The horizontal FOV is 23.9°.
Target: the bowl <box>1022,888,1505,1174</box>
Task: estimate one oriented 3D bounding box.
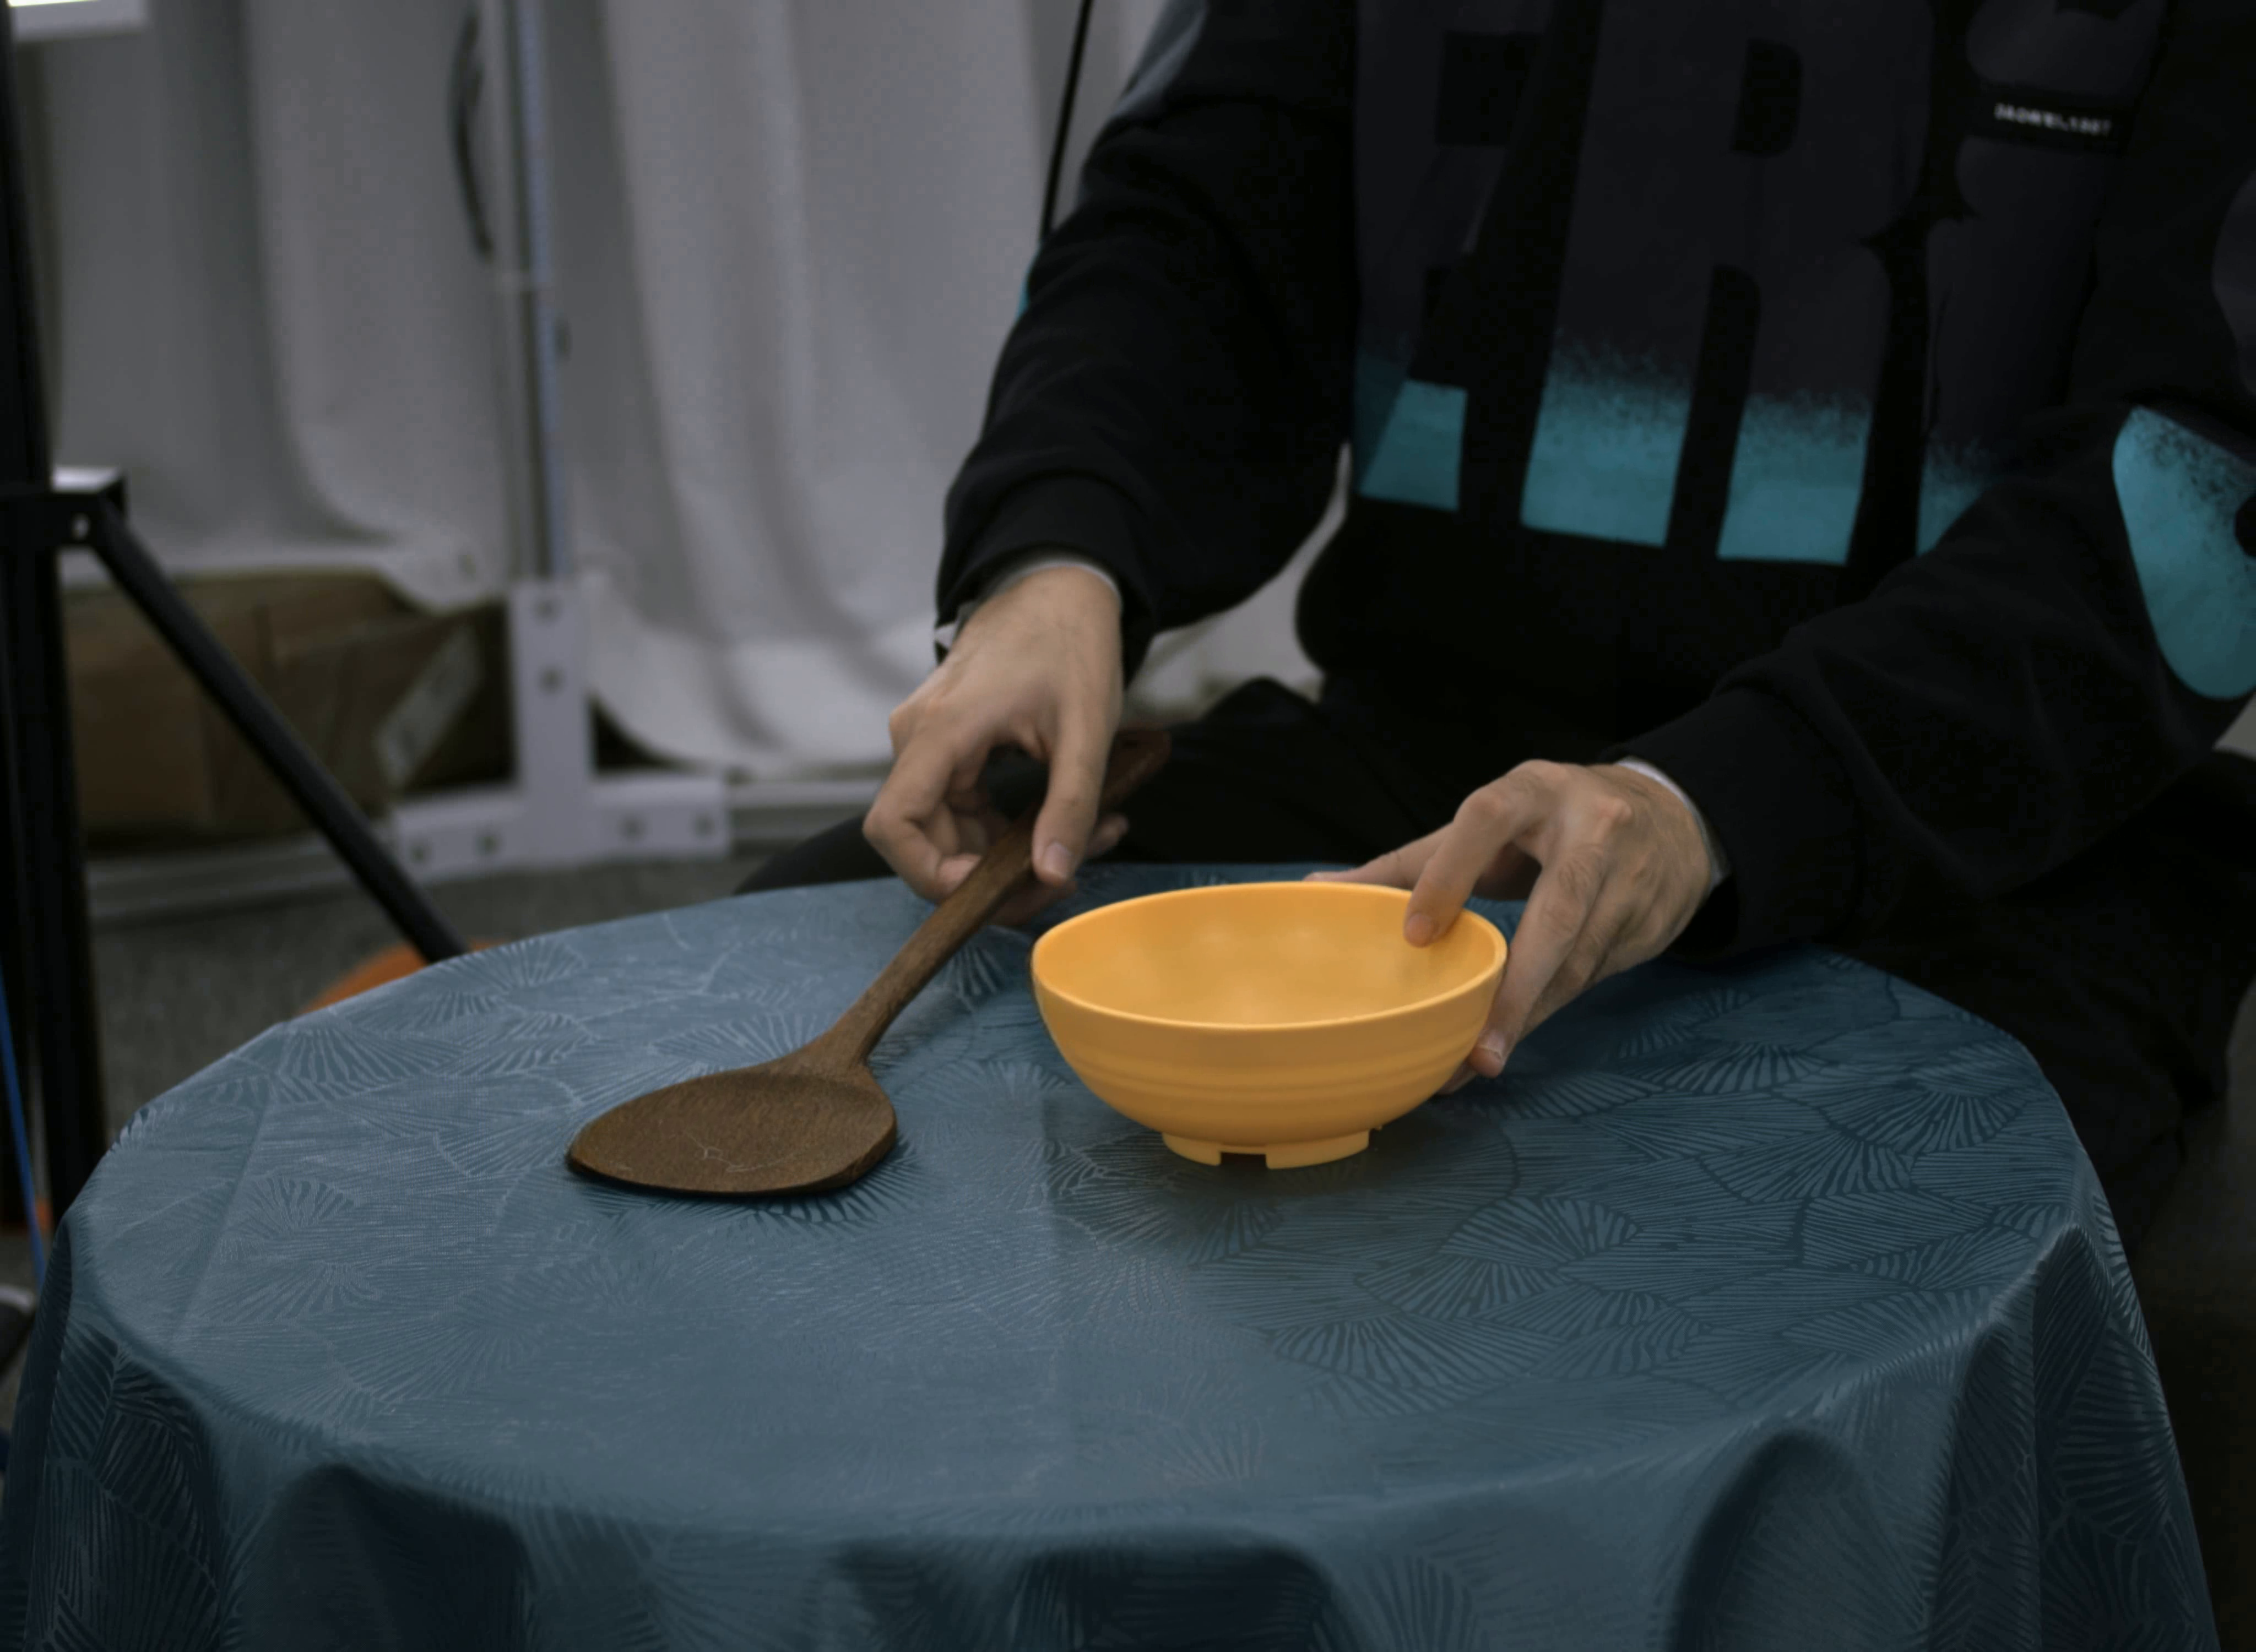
[{"bbox_3d":[0.040,0.067,1.595,0.144,0.060,0.146,-1,15,-1],"label":"bowl"}]

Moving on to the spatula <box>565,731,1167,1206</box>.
[{"bbox_3d":[-0.063,0.039,1.734,0.097,0.016,0.382,4,24,22],"label":"spatula"}]
